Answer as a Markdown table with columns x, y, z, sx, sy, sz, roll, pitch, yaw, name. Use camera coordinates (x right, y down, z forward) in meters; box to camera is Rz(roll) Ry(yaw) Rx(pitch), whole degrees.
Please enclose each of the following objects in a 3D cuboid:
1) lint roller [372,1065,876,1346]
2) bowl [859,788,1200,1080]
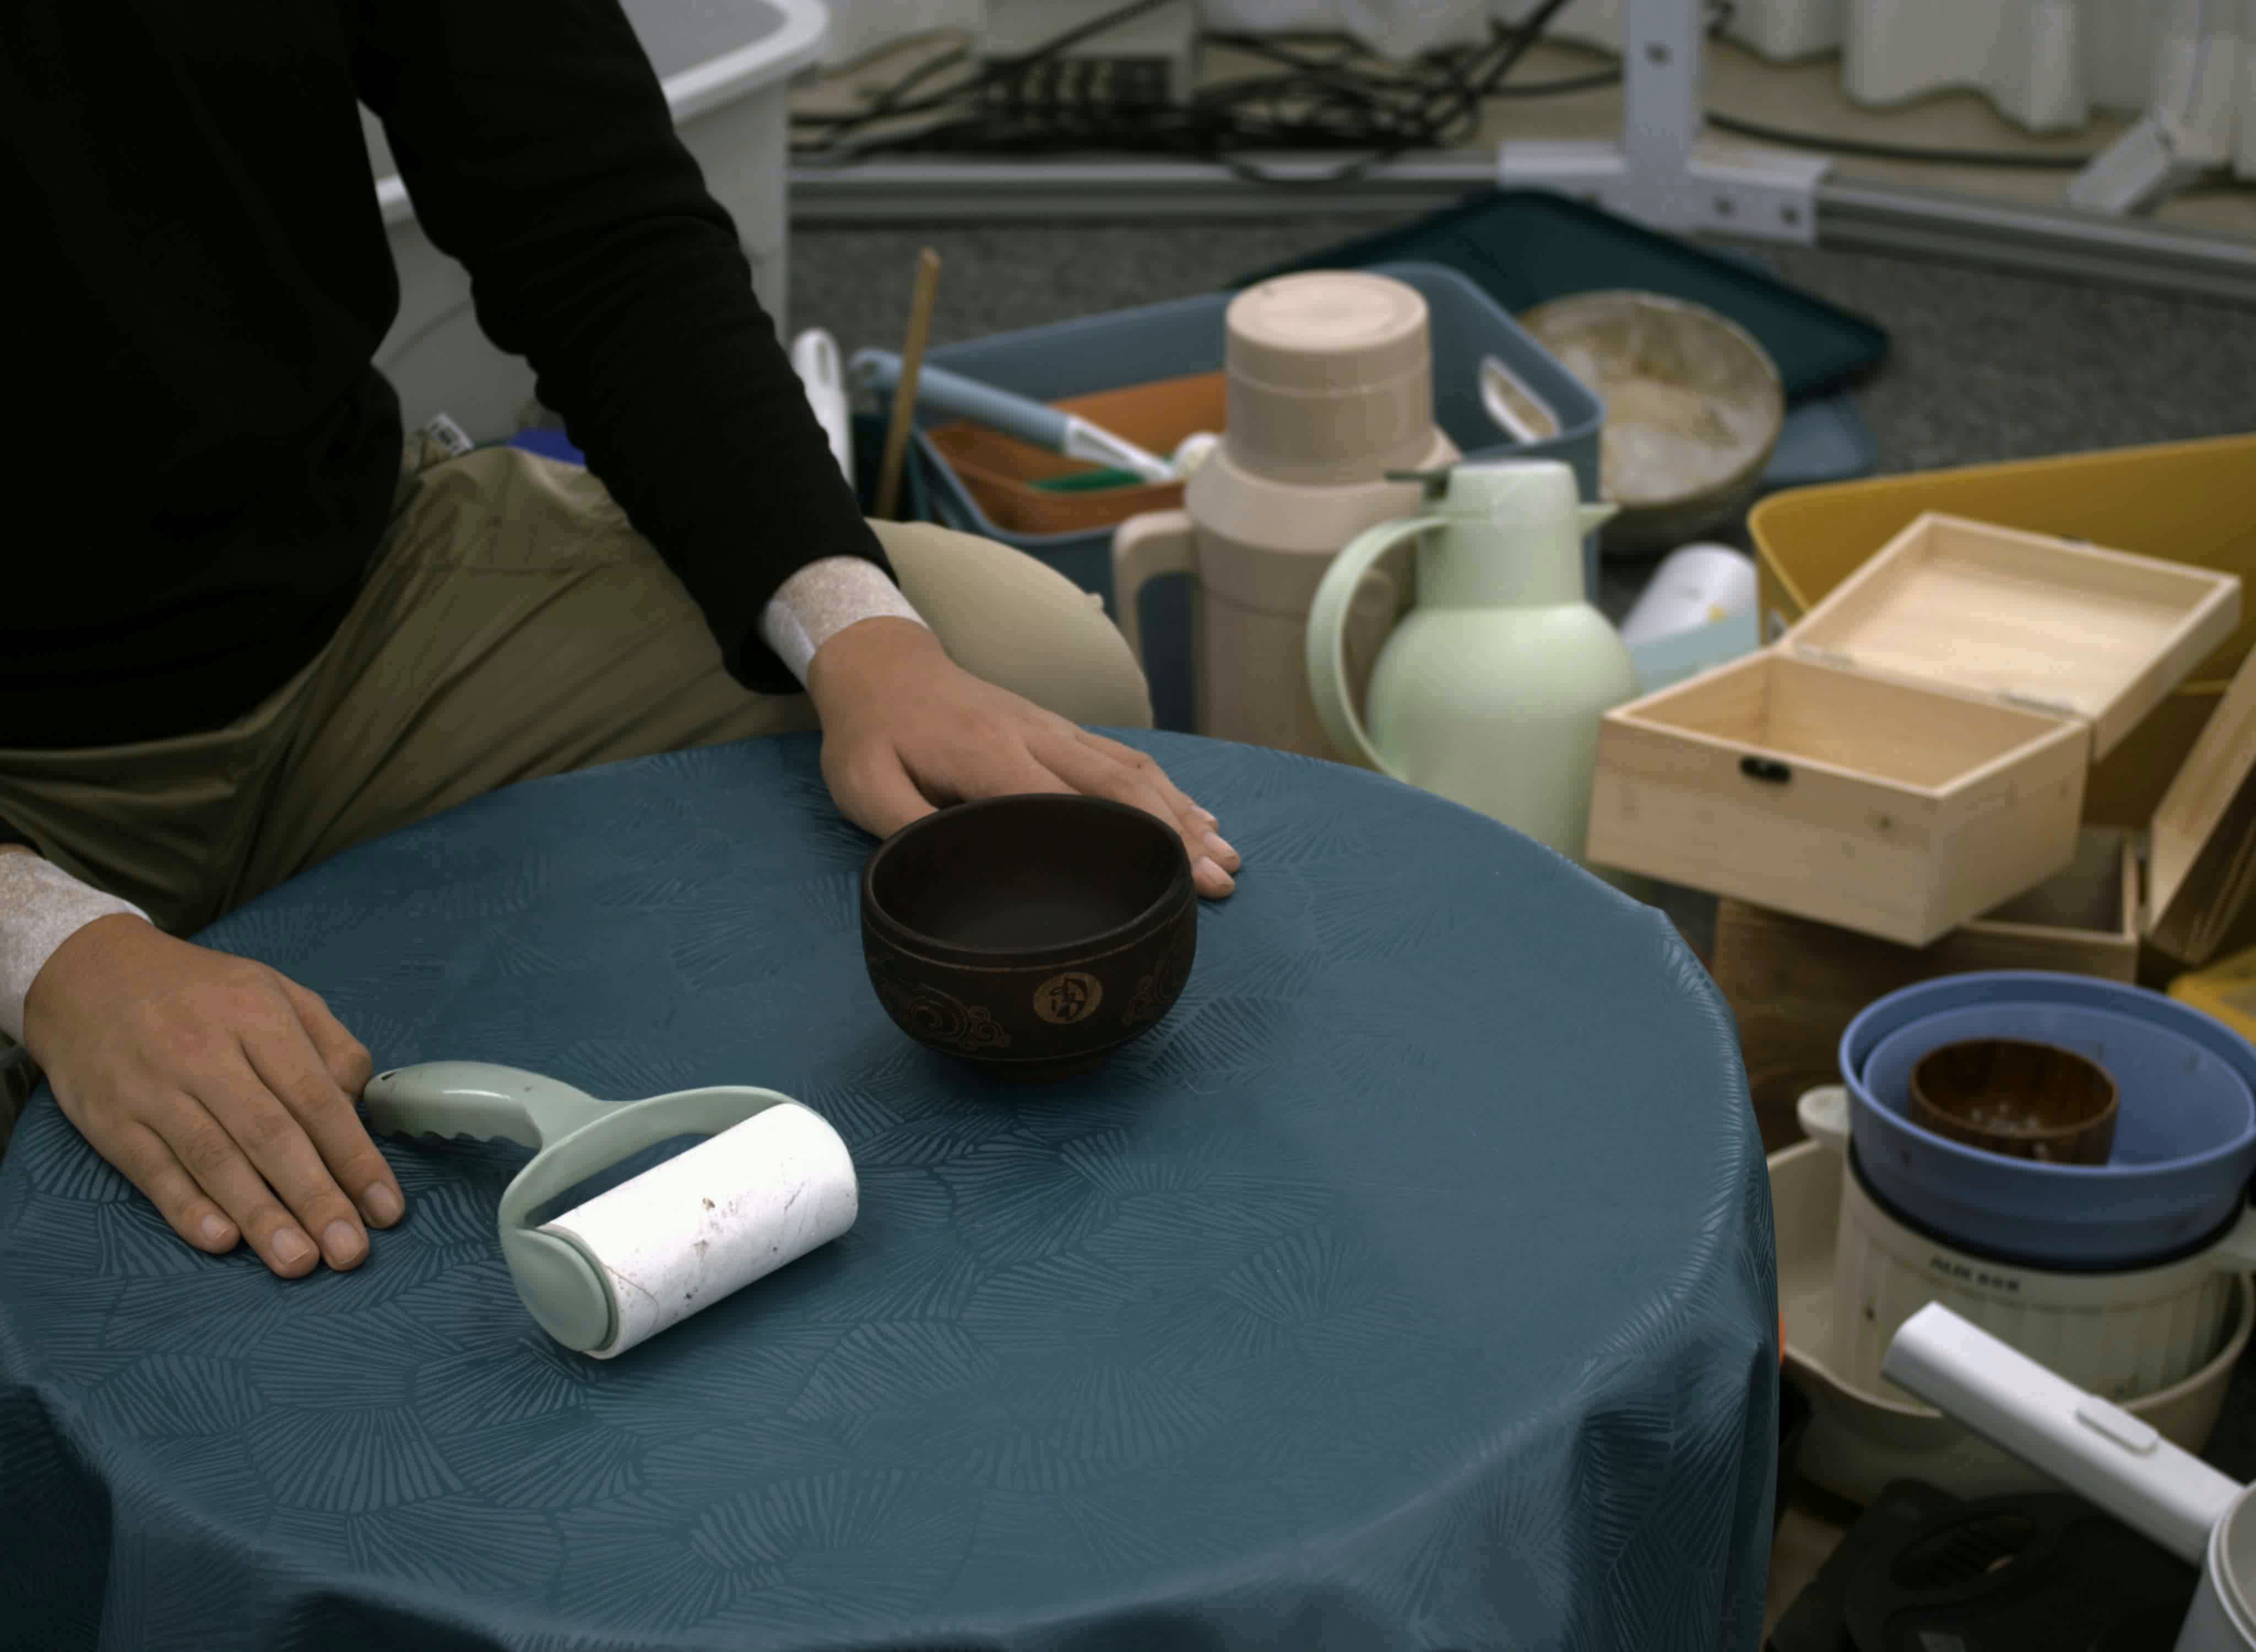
| x | y | z | sx | sy | sz | roll | pitch | yaw | name |
| --- | --- | --- | --- | --- | --- | --- | --- | --- | --- |
| -0.184 | 0.107 | 1.860 | 0.118 | 0.048 | 0.197 | -27 | 34 | -37 | lint roller |
| -0.033 | 0.044 | 1.937 | 0.117 | 0.069 | 0.120 | -3 | 27 | 2 | bowl |
